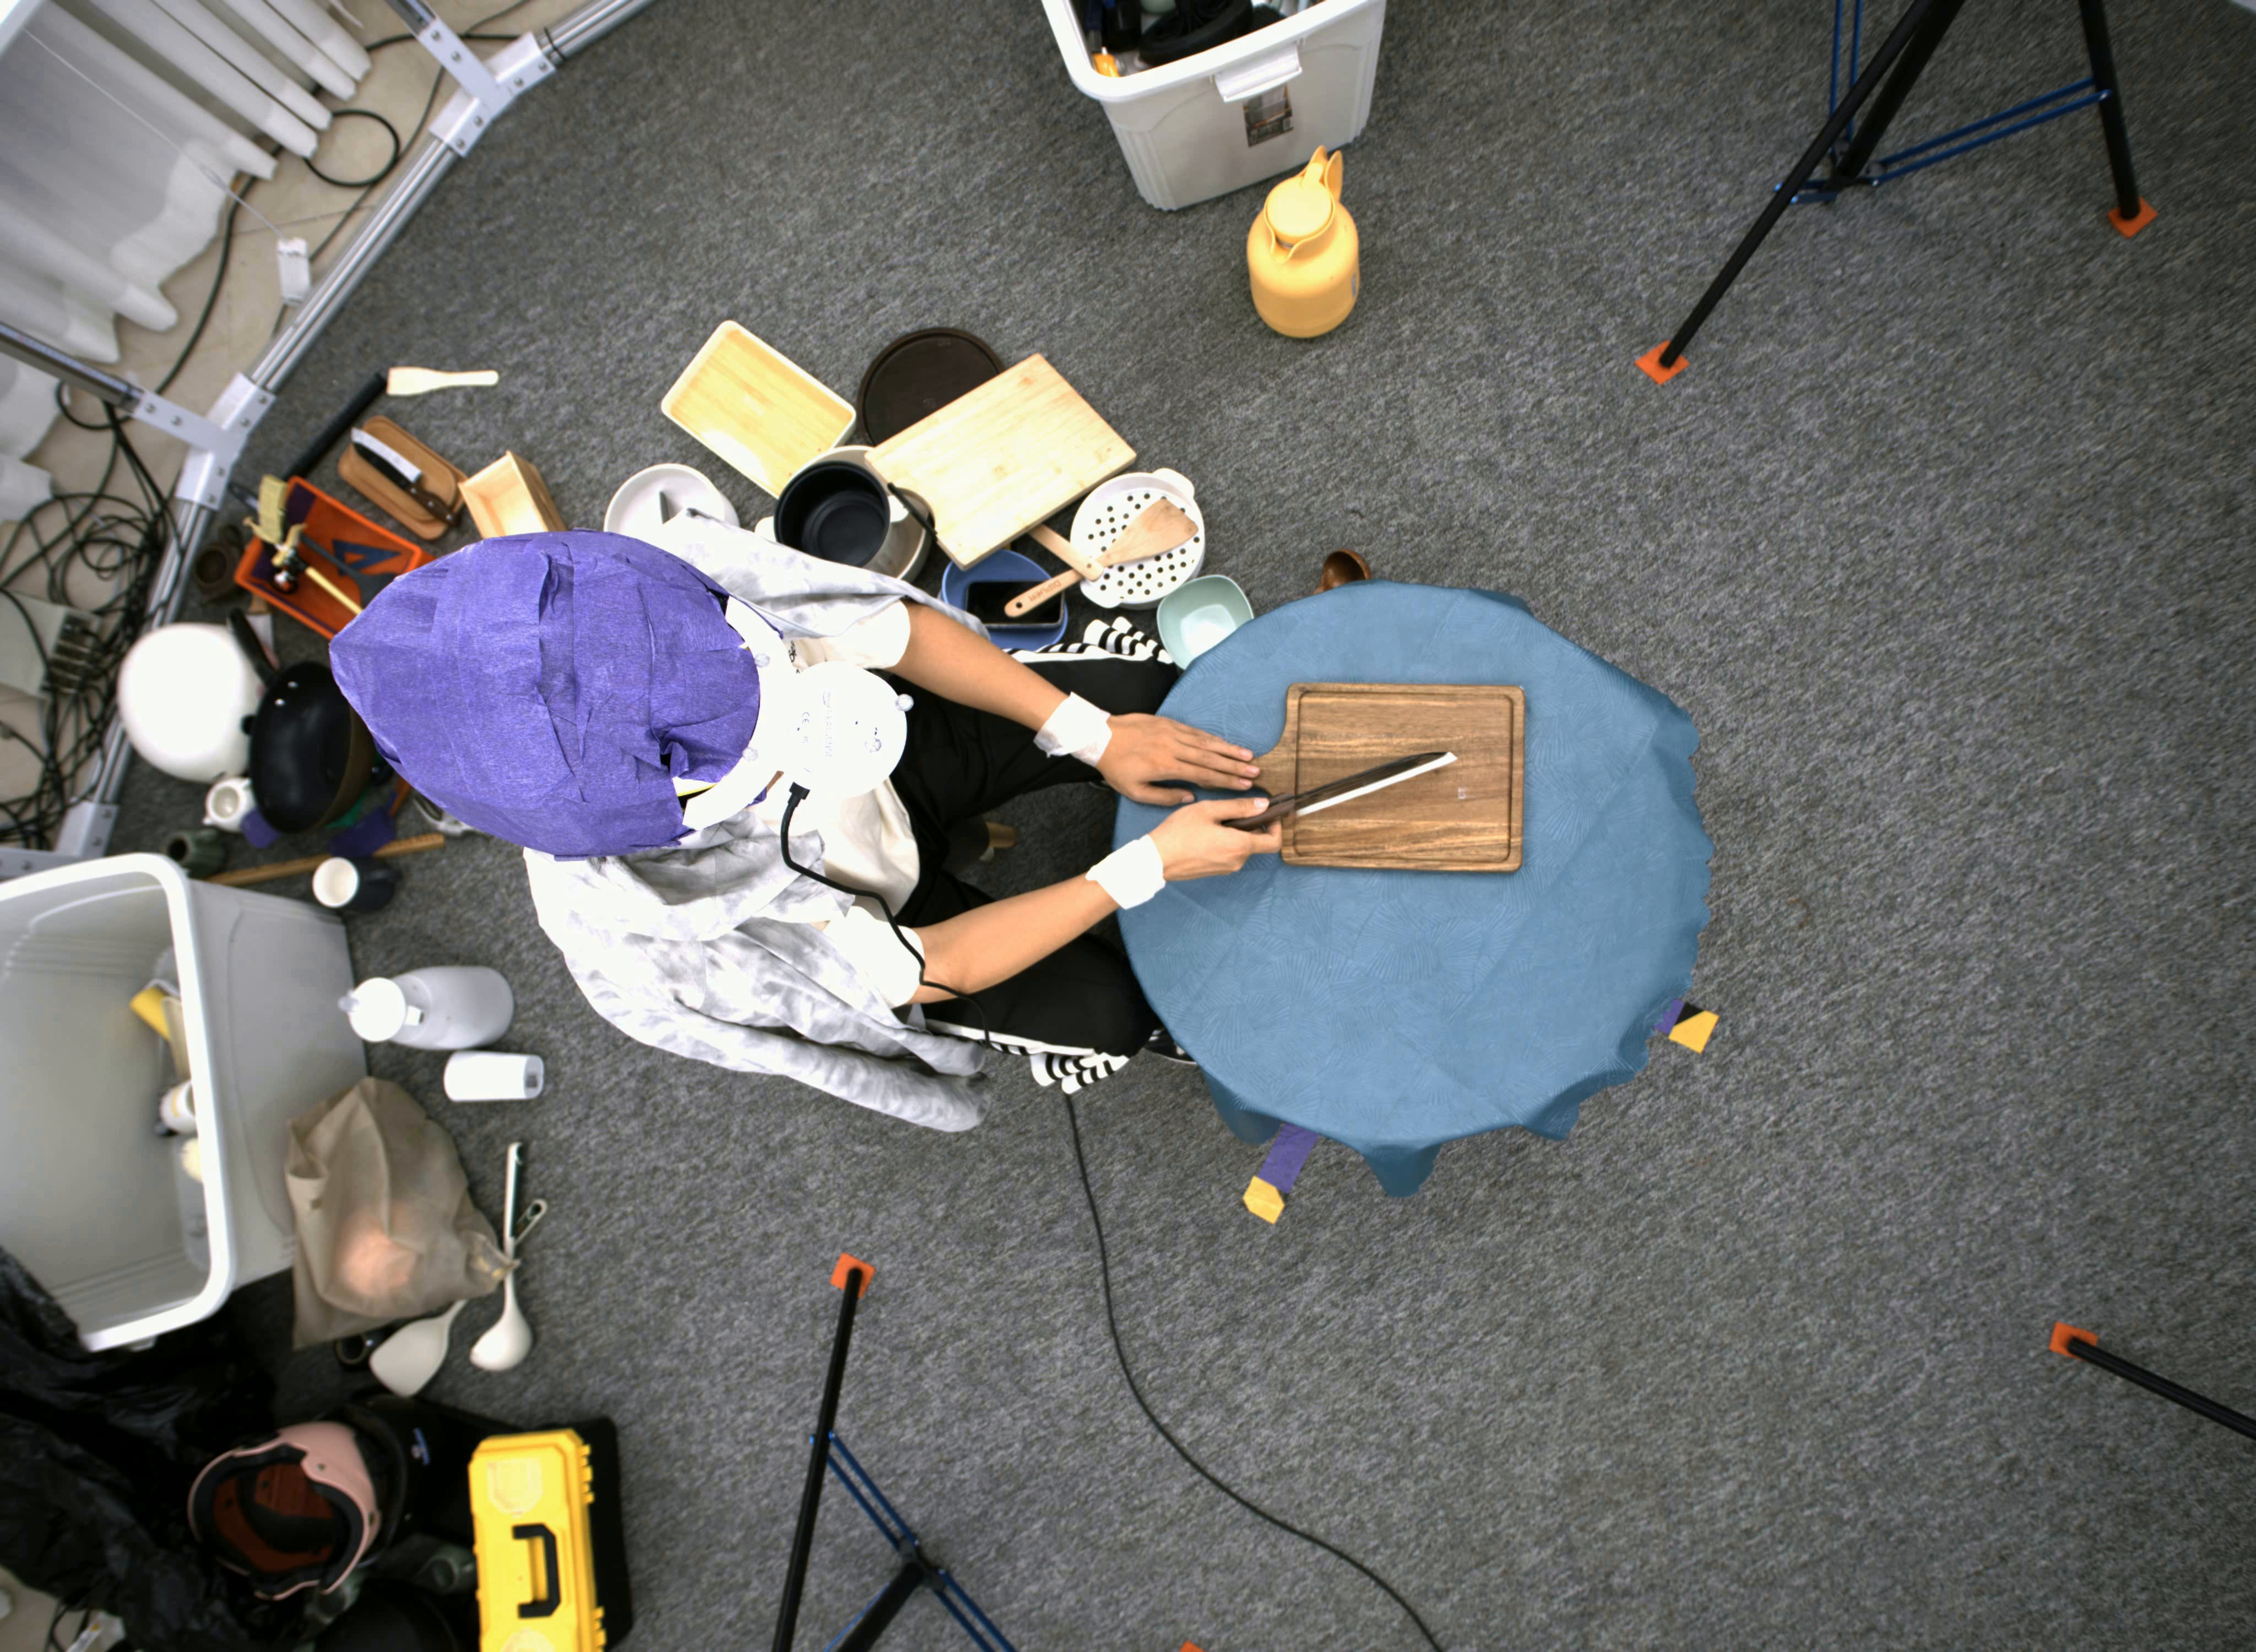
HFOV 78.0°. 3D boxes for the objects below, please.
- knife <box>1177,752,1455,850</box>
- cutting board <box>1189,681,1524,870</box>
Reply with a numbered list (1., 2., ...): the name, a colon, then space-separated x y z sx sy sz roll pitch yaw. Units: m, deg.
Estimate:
1. knife: 0.196 -0.029 1.425 0.301 0.069 0.023 -20 72 6
2. cutting board: 0.240 -0.056 1.463 0.353 0.023 0.200 1 89 11
